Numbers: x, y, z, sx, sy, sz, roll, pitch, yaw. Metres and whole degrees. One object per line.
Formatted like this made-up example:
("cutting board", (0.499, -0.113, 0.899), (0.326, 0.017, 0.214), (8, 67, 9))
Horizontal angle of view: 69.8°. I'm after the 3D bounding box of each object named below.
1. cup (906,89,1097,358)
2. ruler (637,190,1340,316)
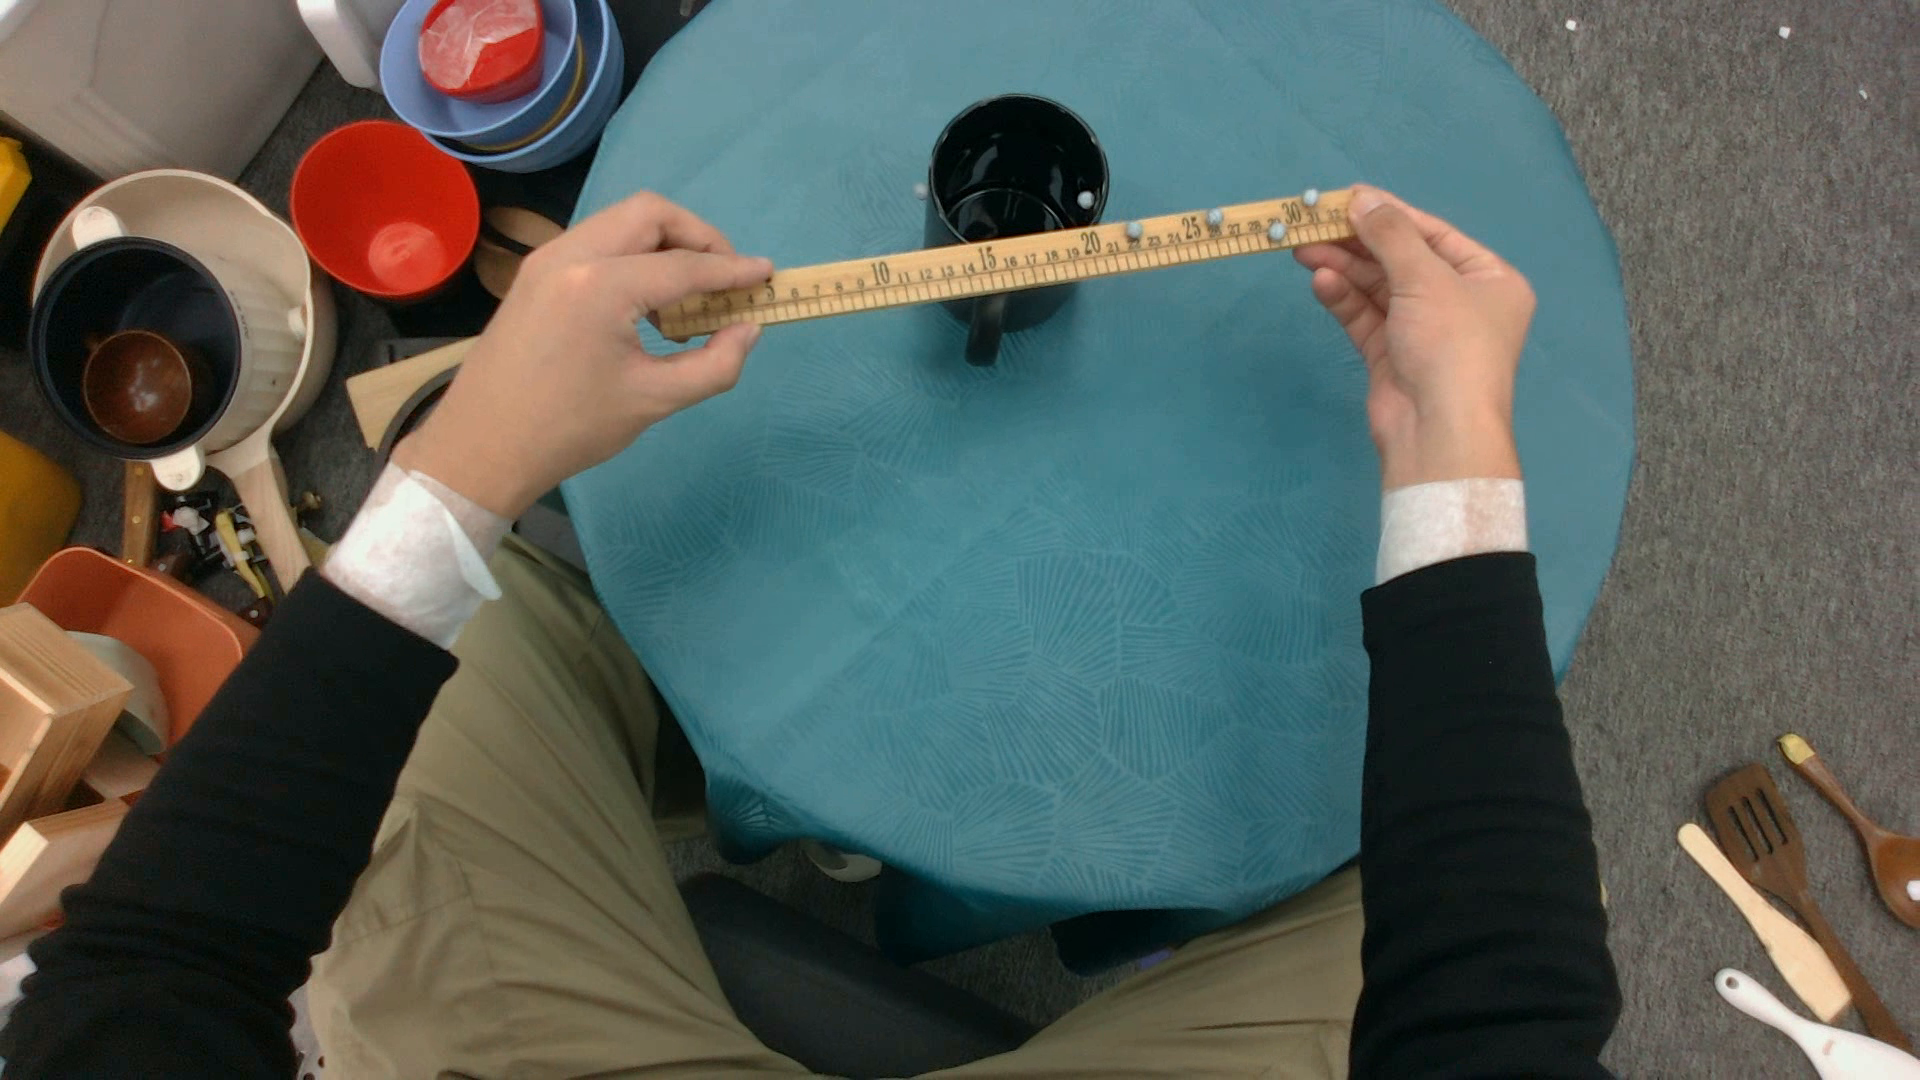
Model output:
("cup", (0.014, -0.153, 0.712), (0.089, 0.105, 0.124), (14, 79, -3))
("ruler", (0.021, -0.135, 0.634), (0.332, 0.022, 0.027), (-9, 69, -11))
